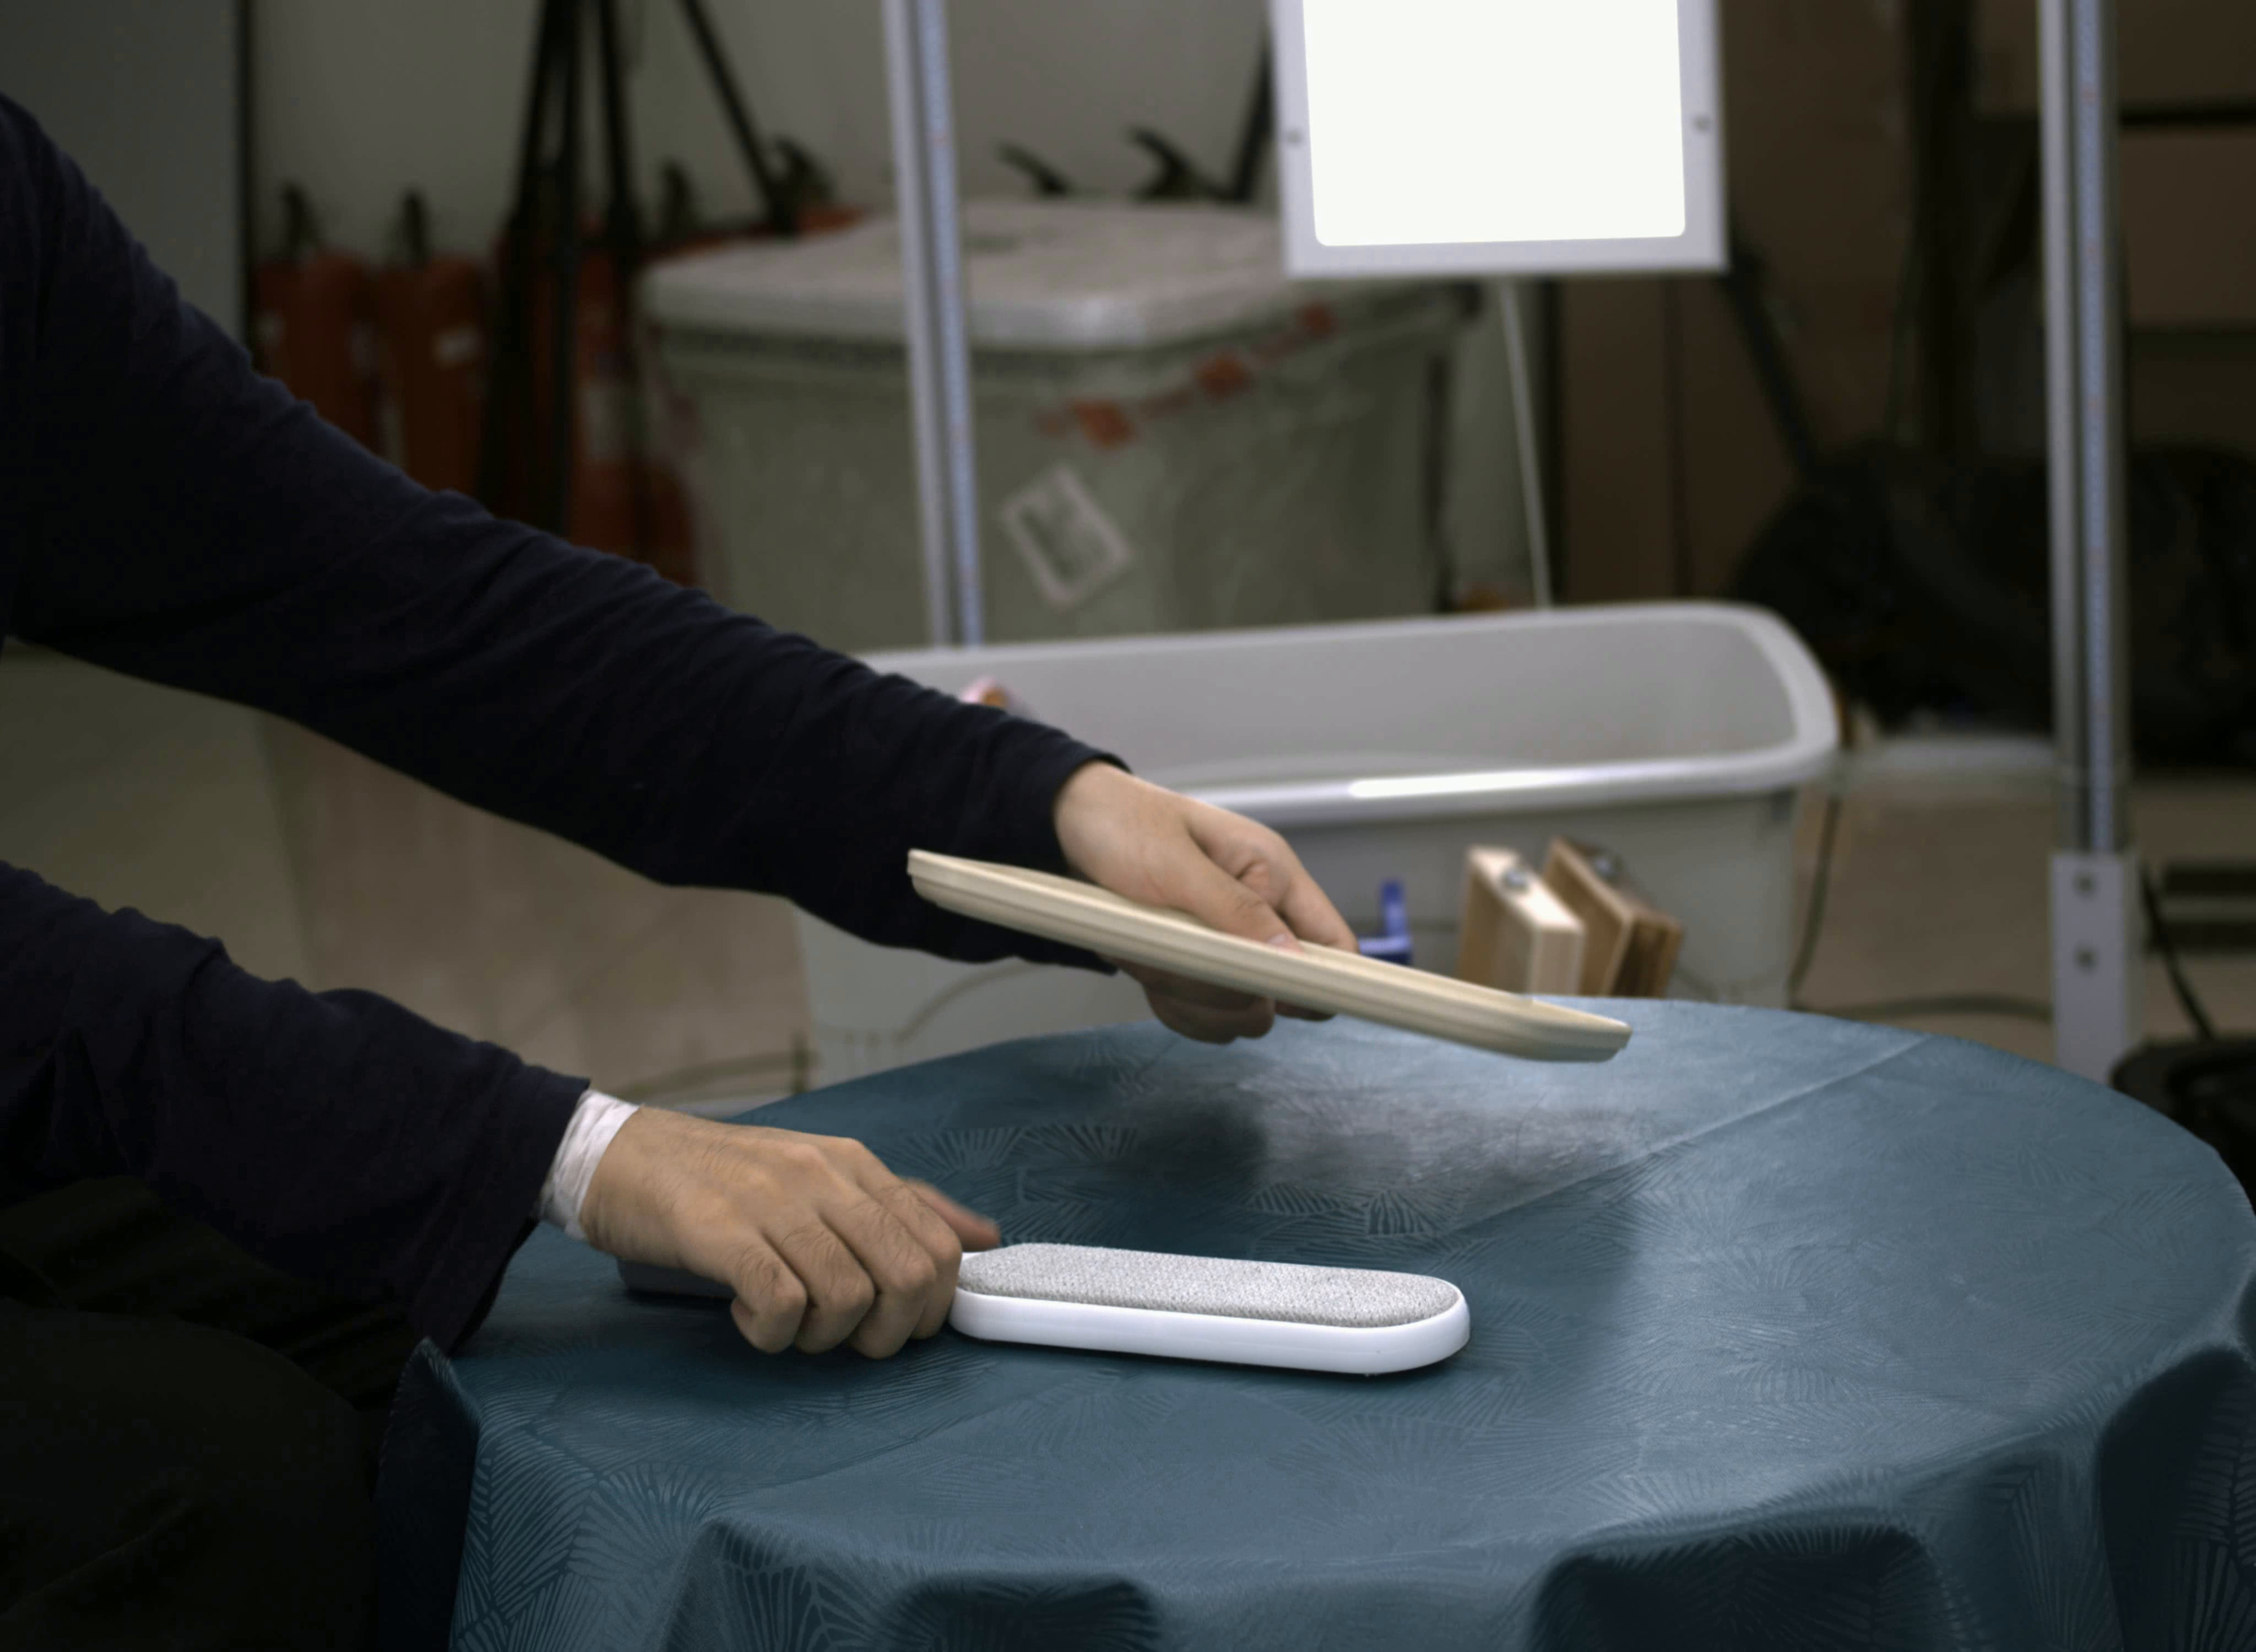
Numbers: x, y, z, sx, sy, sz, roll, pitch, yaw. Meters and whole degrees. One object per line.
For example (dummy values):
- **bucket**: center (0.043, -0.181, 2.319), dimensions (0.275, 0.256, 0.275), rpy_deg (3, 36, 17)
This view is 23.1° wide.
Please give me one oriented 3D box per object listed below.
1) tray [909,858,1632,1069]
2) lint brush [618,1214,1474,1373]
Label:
- **tray**: center (0.050, 0.048, 1.906), dimensions (0.242, 0.017, 0.169), rpy_deg (15, 3, 17)
- **lint brush**: center (-0.032, 0.147, 1.775), dimensions (0.314, 0.021, 0.059), rpy_deg (3, 21, 30)
